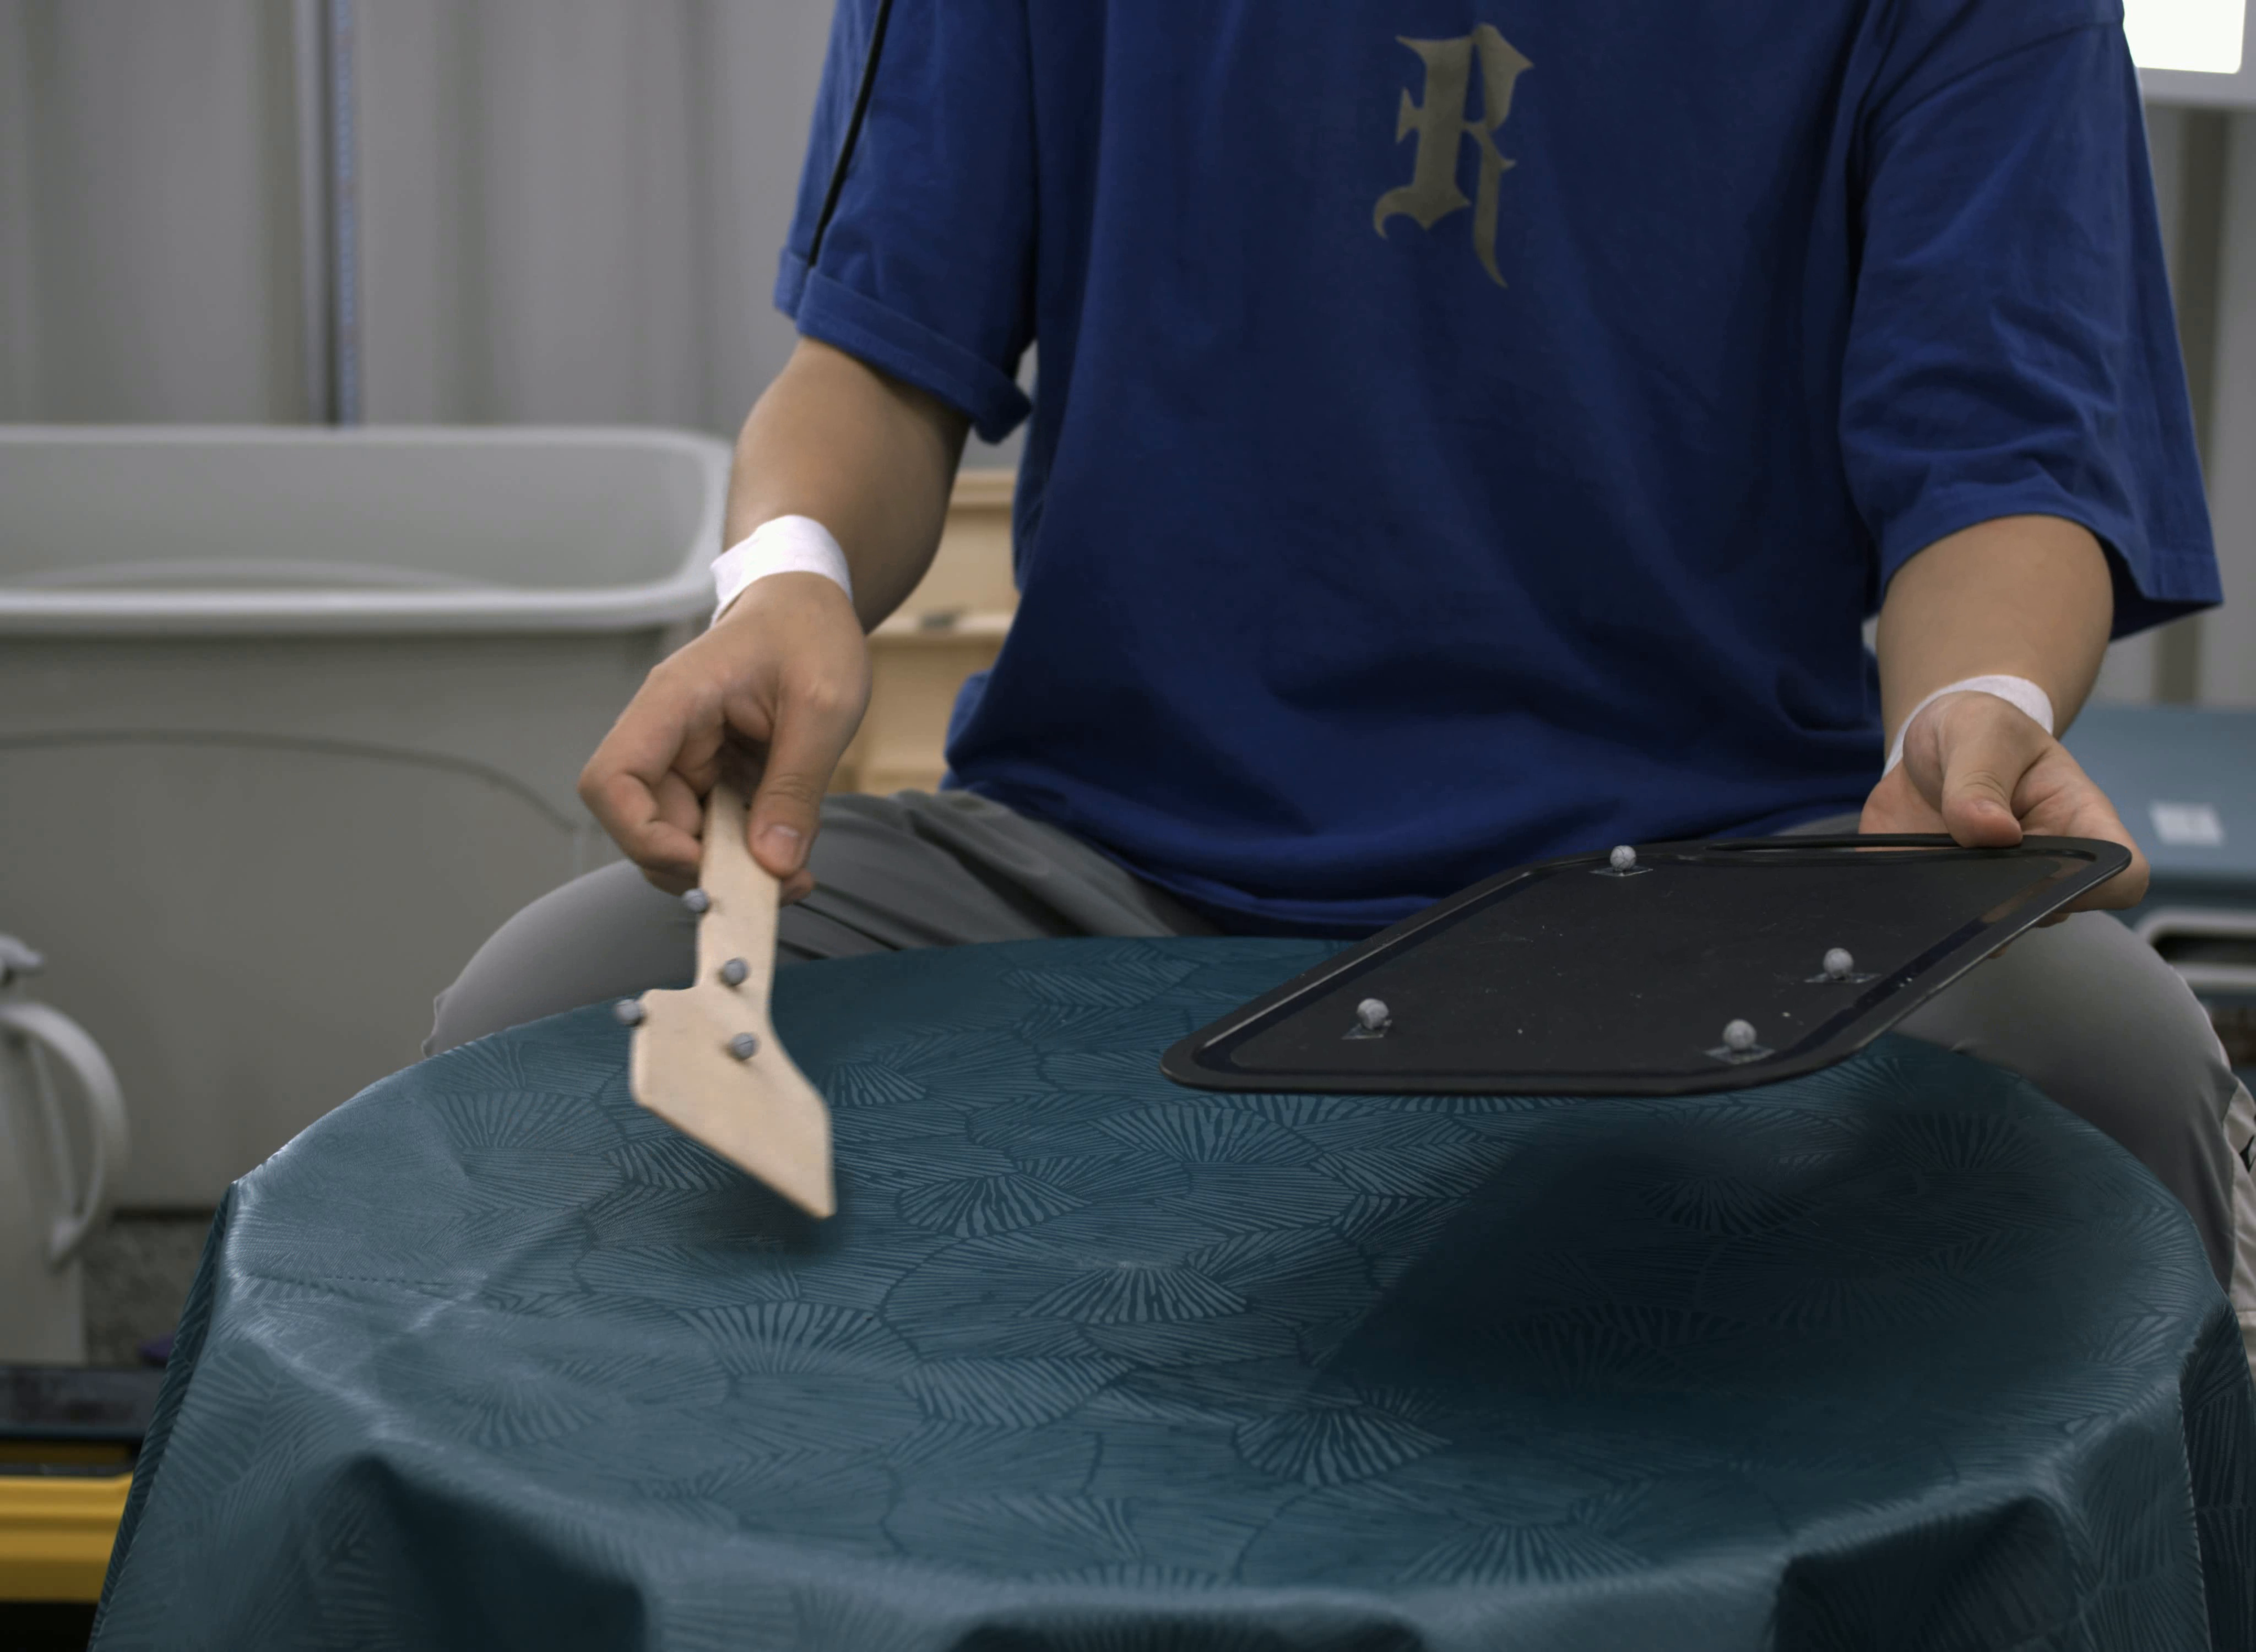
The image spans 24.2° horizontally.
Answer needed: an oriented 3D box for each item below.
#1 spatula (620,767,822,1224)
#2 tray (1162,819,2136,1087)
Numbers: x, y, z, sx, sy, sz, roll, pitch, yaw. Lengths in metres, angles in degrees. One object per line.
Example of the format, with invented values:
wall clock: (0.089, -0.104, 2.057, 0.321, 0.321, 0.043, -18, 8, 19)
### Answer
spatula: (-0.127, 0.043, 1.687, 0.073, 0.010, 0.290, 34, 18, -16)
tray: (0.161, 0.033, 1.548, 0.209, 0.010, 0.326, -1, 12, 31)
